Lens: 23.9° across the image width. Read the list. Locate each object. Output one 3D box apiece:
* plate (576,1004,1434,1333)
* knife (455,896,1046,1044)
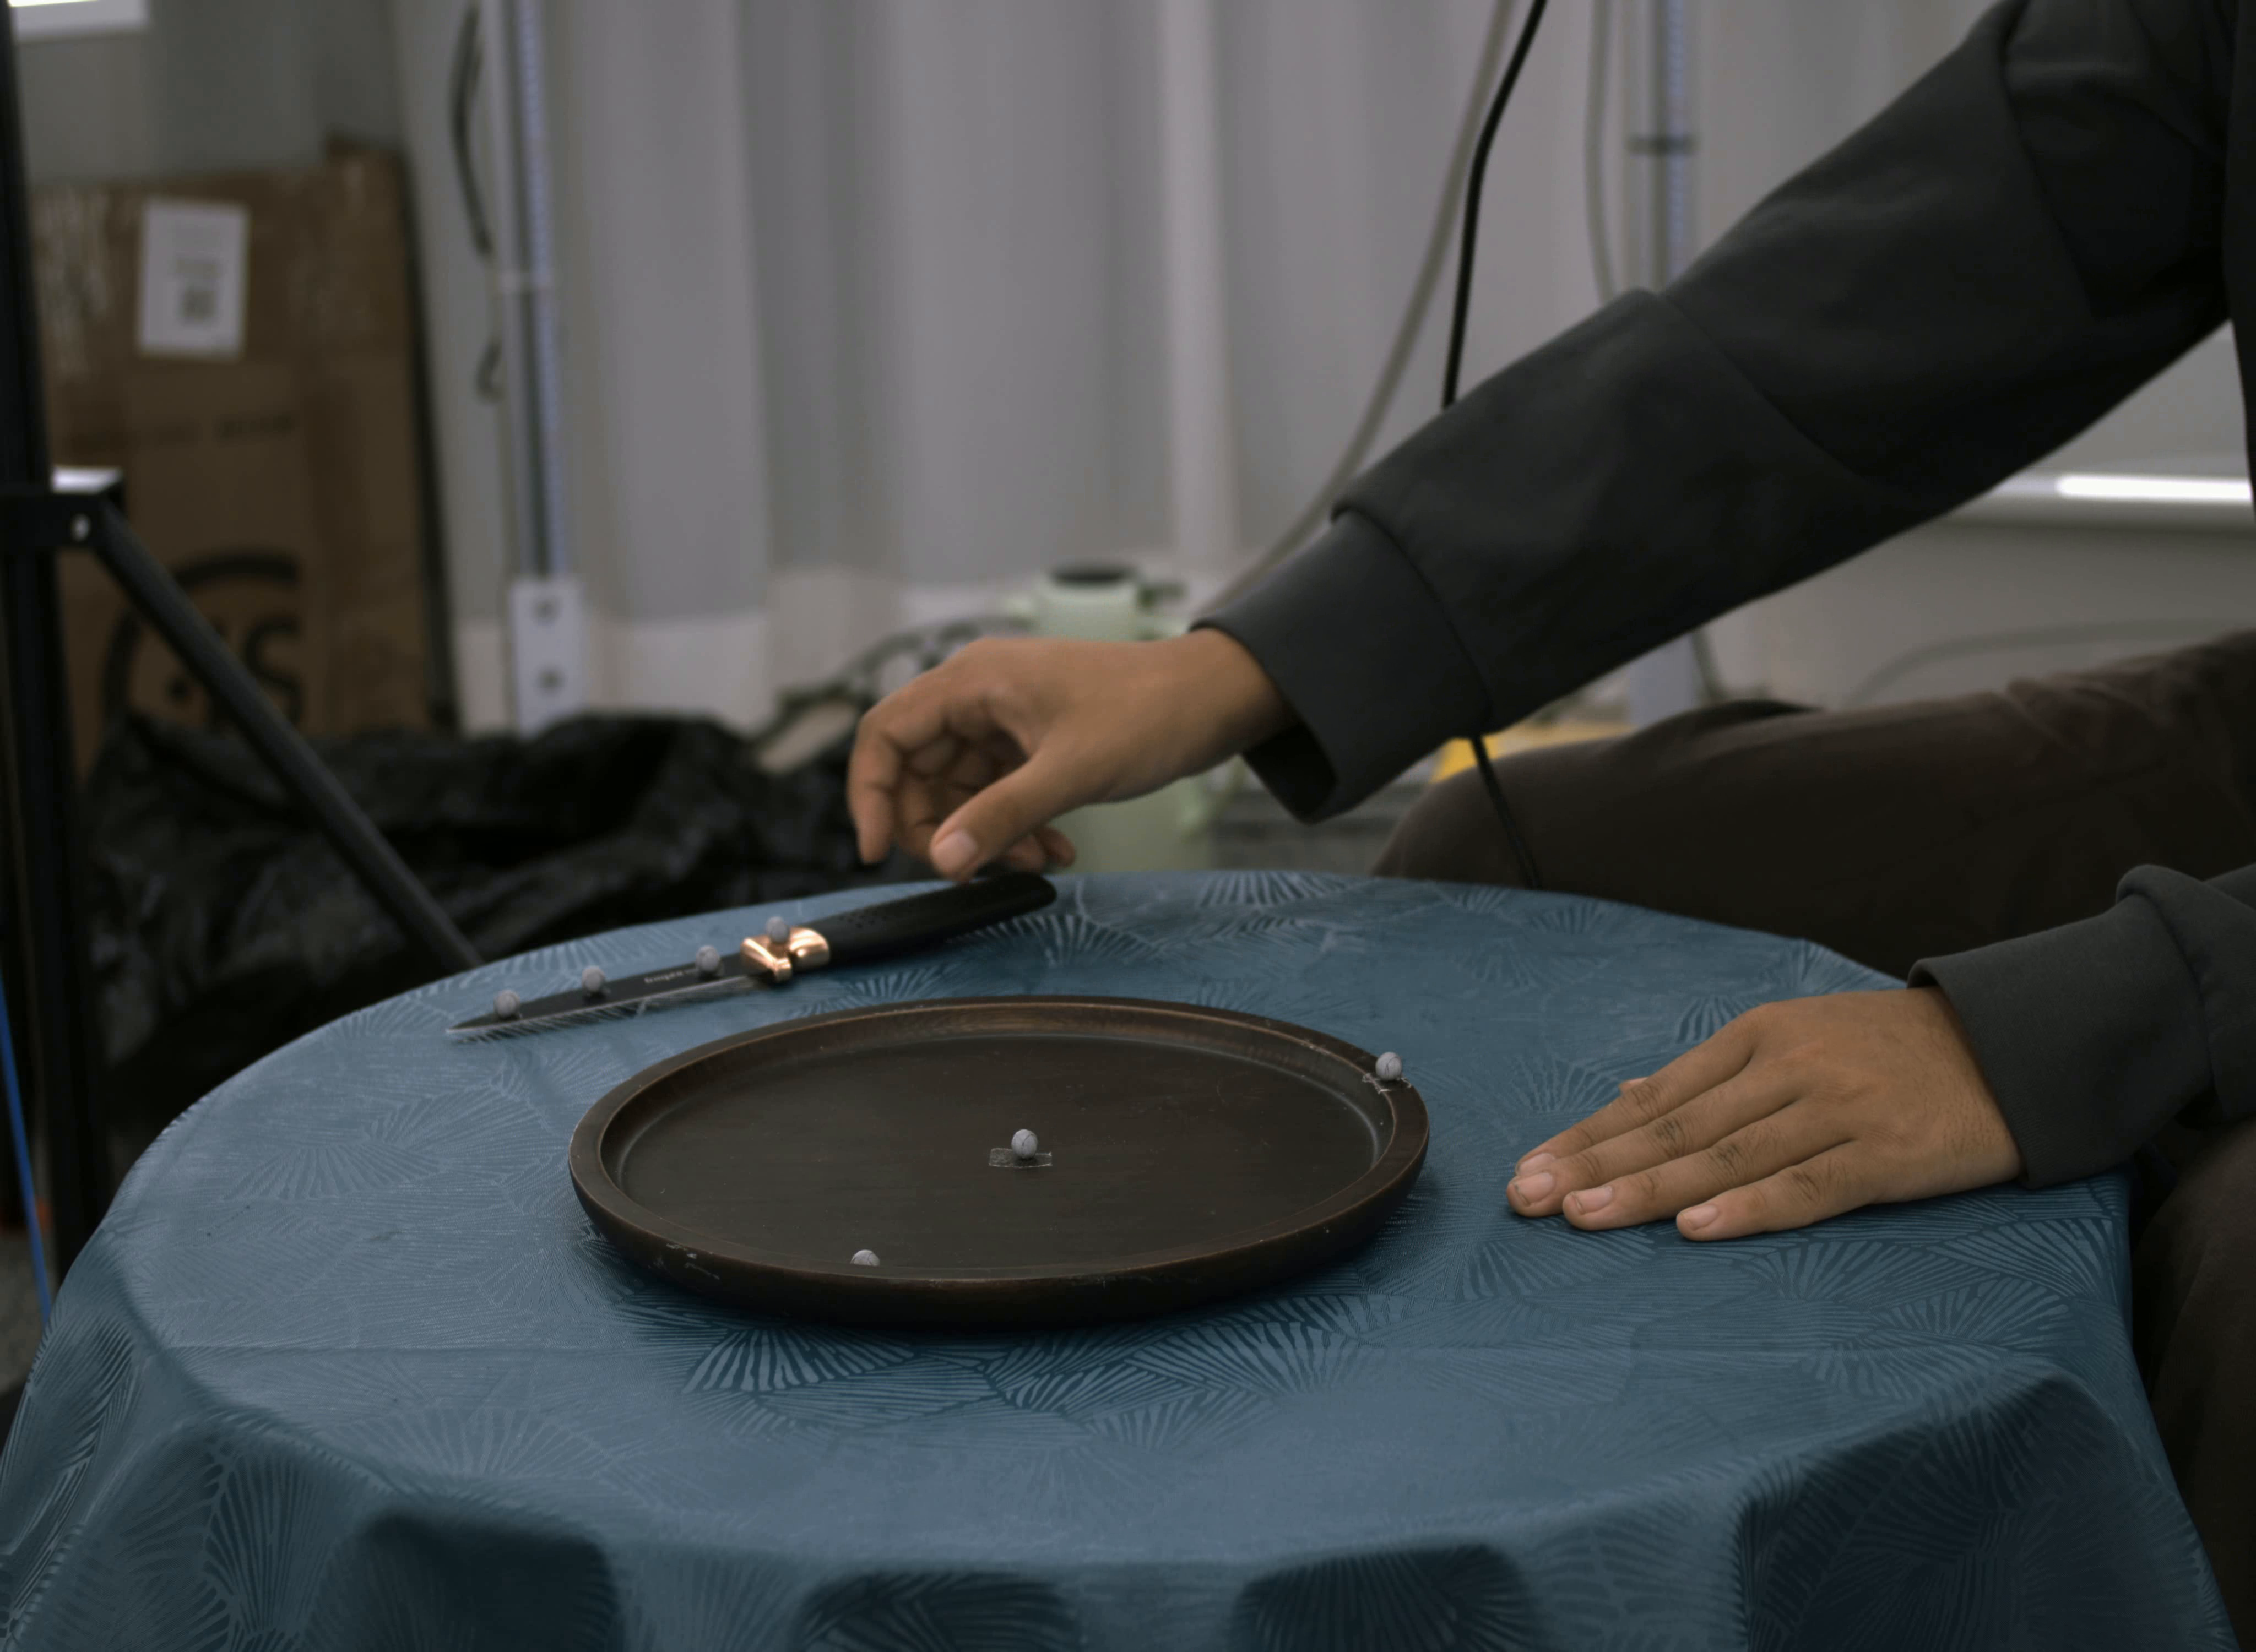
[{"bbox_3d":[-0.036,0.097,1.557,0.253,0.029,0.256,-2,15,-1],"label":"plate"},{"bbox_3d":[-0.123,0.048,1.764,0.220,0.017,0.027,-11,21,-28],"label":"knife"}]
